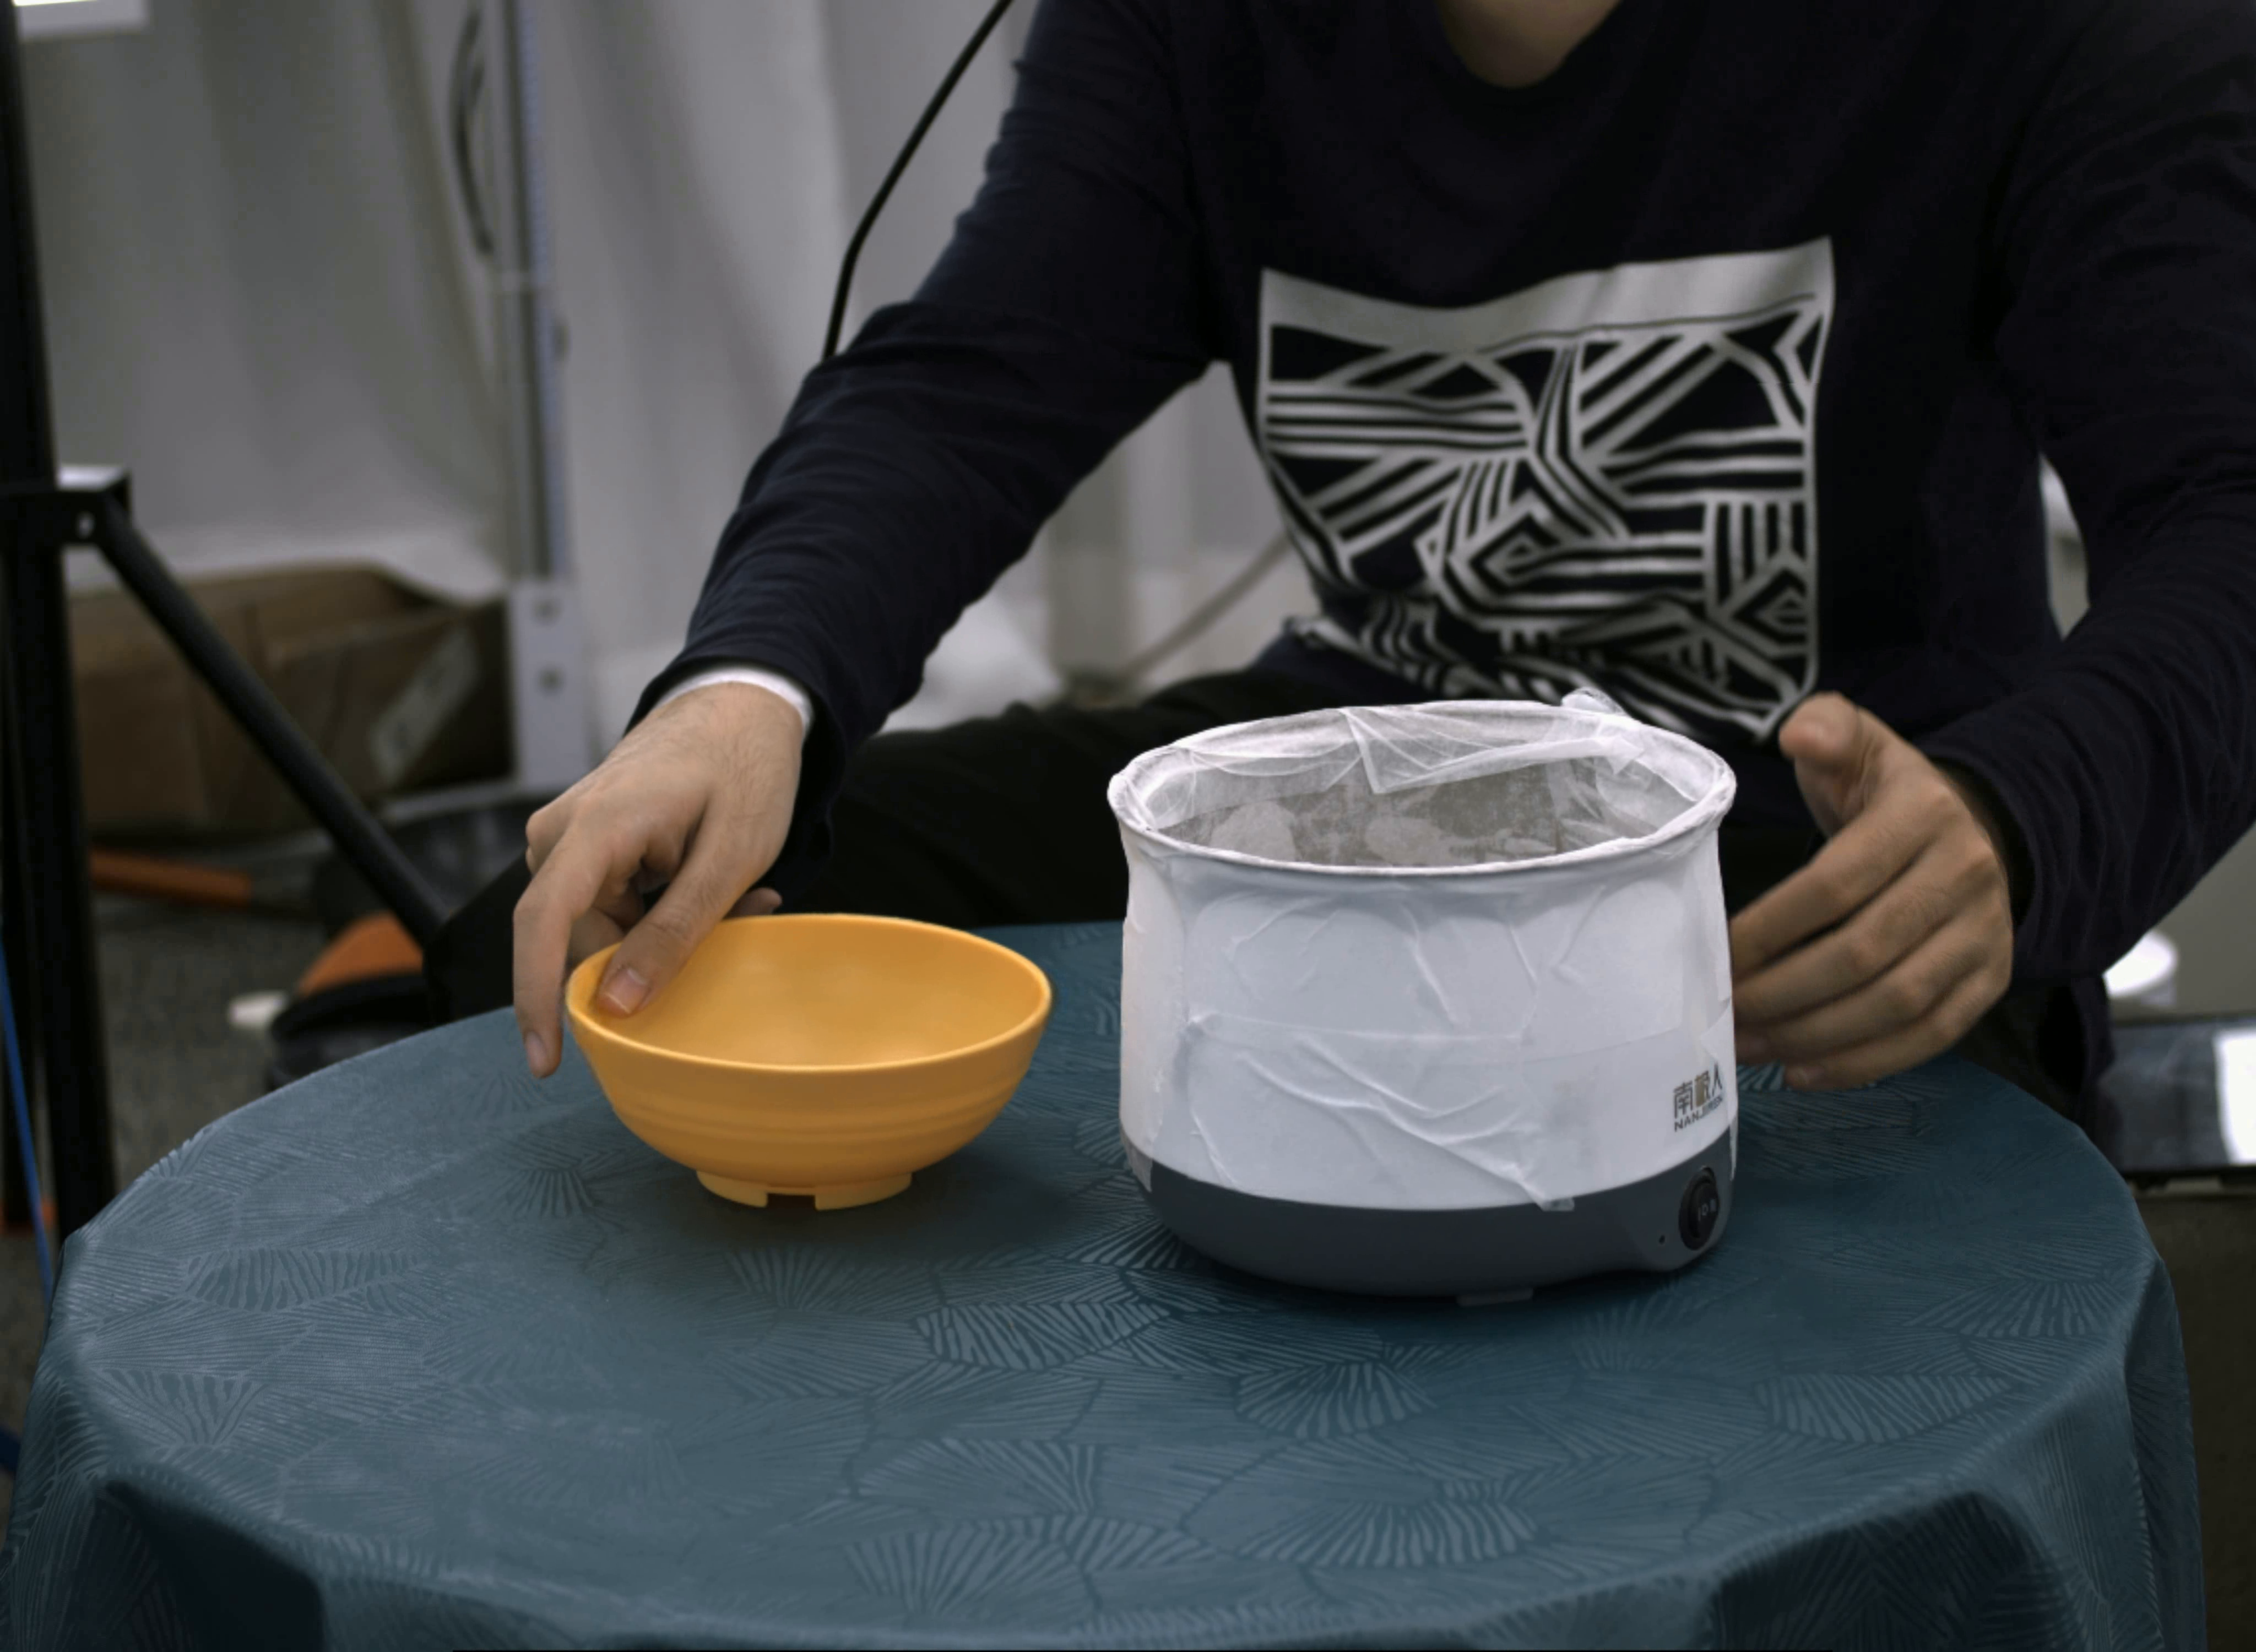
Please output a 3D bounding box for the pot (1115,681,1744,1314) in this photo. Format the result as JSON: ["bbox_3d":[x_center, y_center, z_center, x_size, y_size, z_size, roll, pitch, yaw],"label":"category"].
[{"bbox_3d":[0.099,0.041,1.529,0.182,0.136,0.229,10,21,30],"label":"pot"}]

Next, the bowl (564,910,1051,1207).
[{"bbox_3d":[-0.095,0.075,1.581,0.144,0.060,0.146,0,16,-1],"label":"bowl"}]
